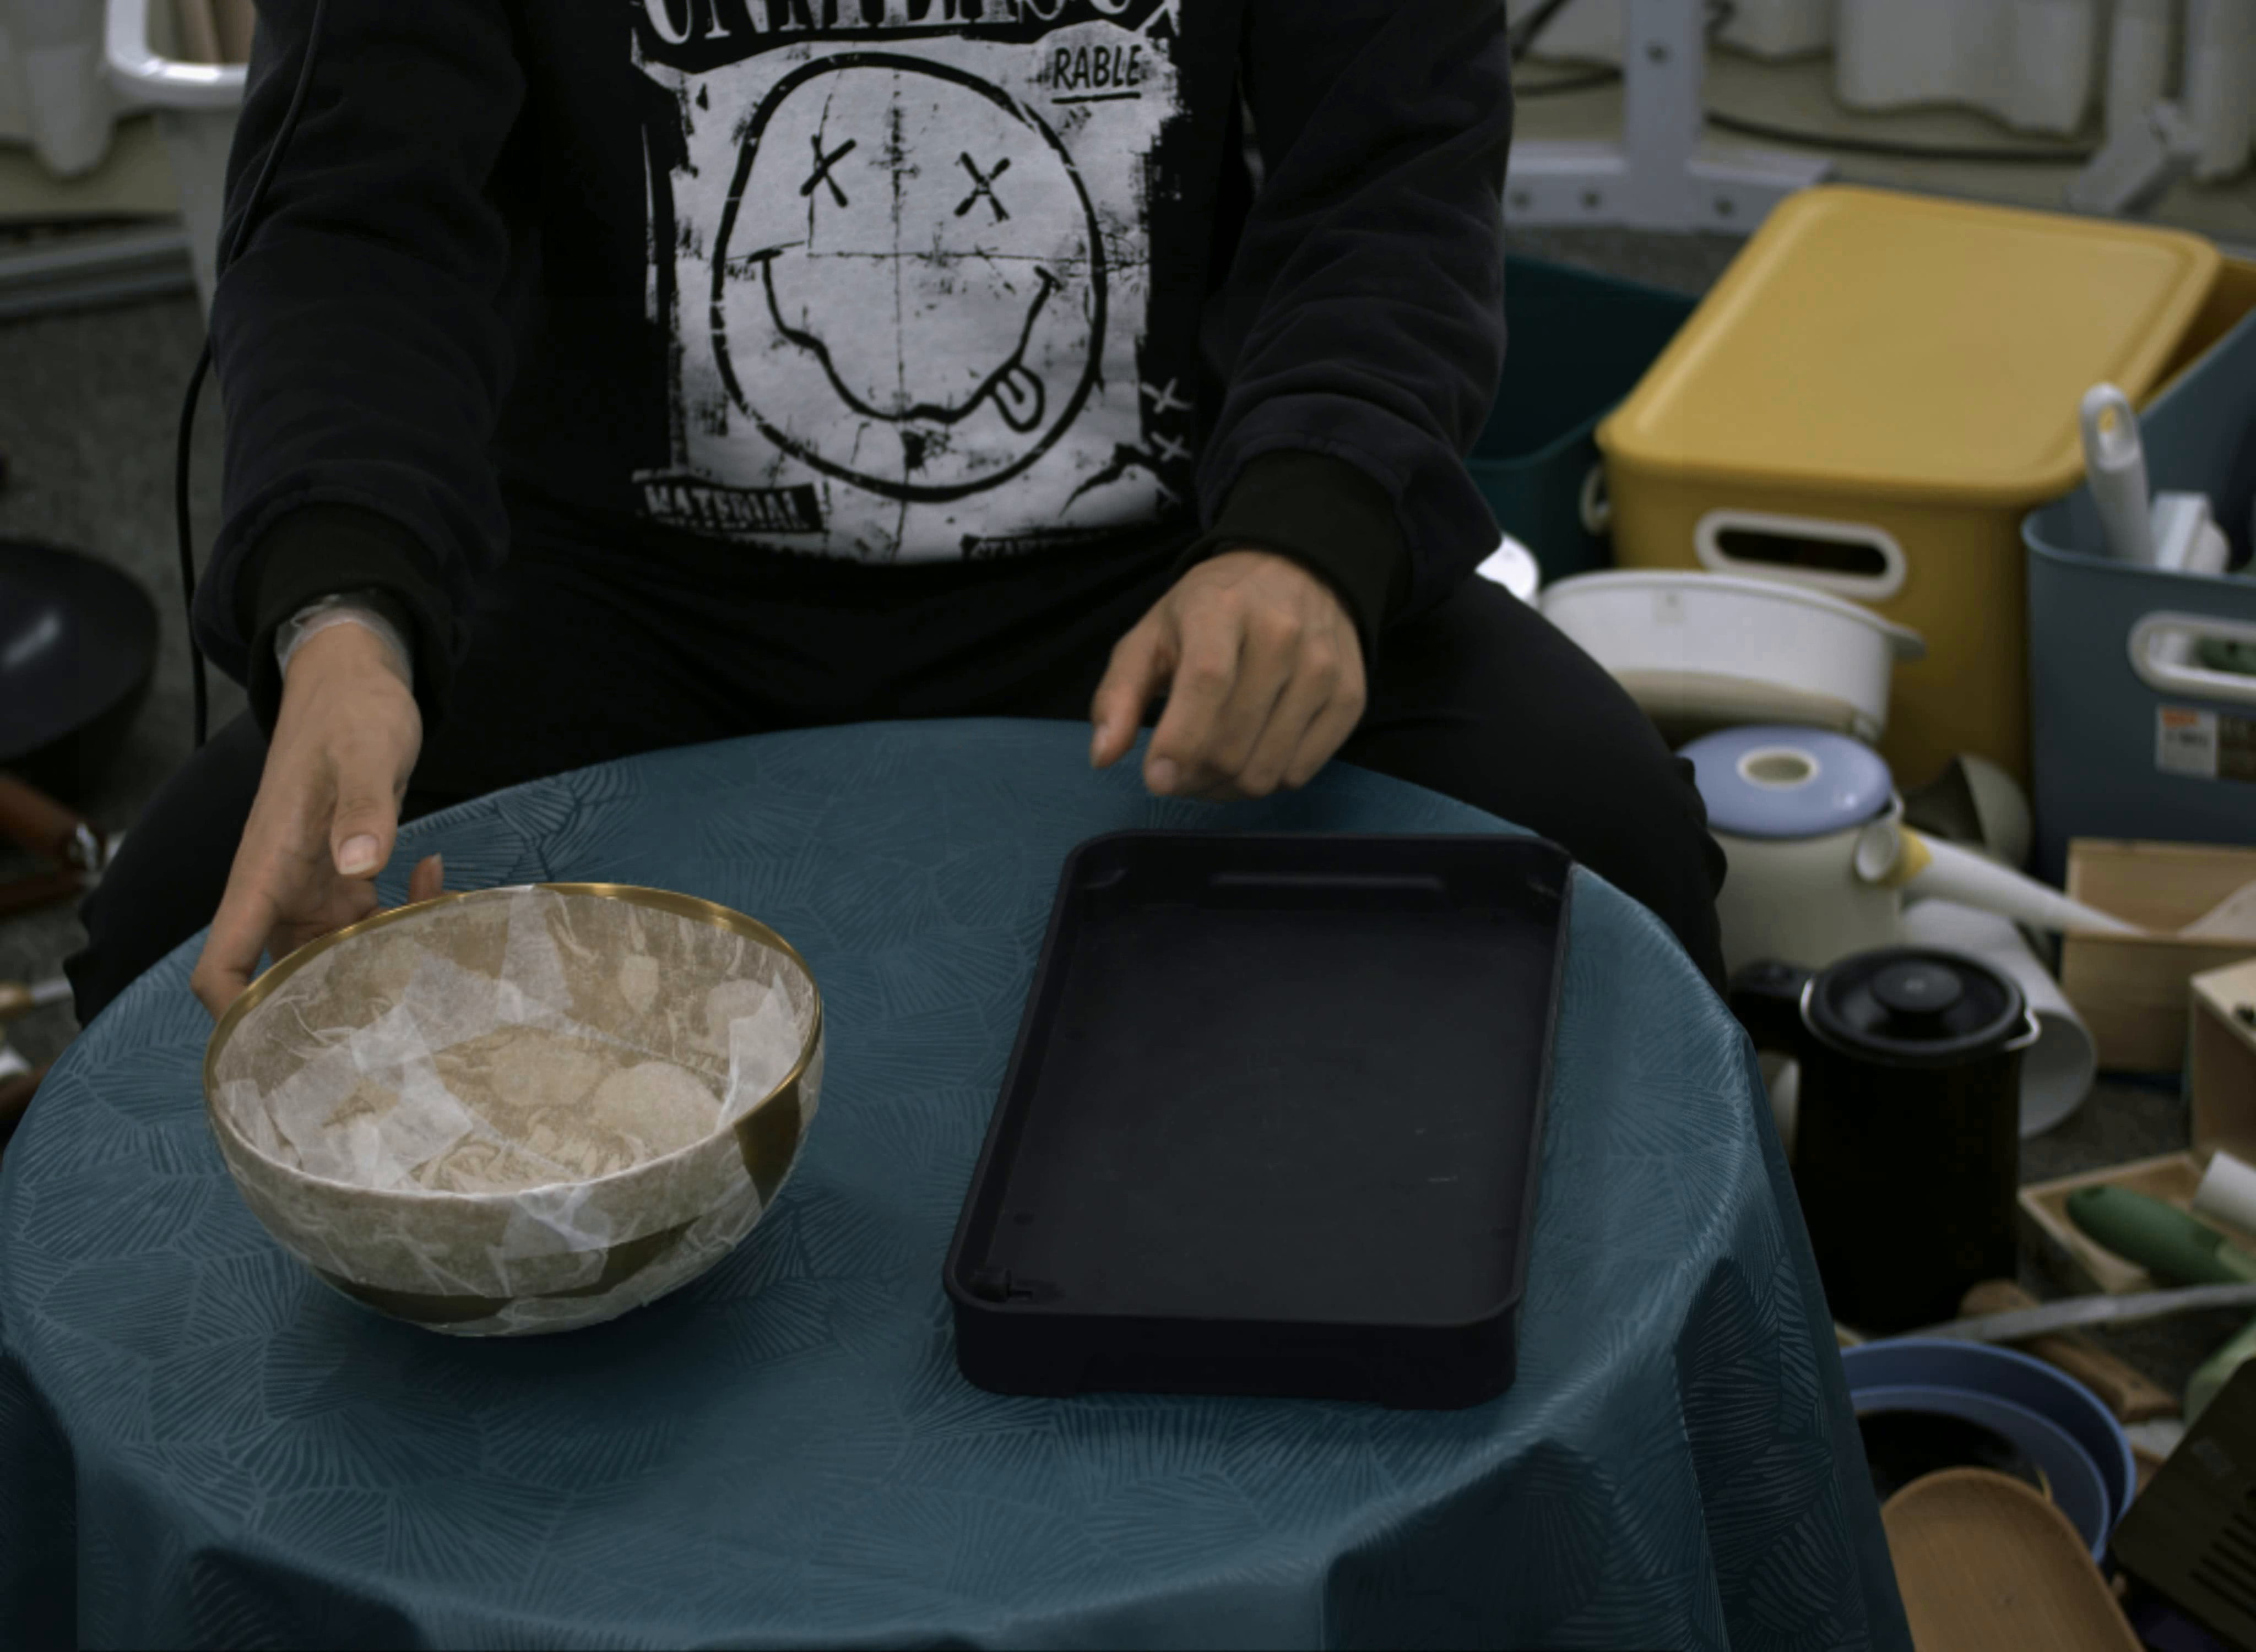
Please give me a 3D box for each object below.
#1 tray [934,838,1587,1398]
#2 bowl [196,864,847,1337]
[{"bbox_3d":[0.051,0.091,1.874,0.183,0.036,0.323,0,26,9],"label":"tray"},{"bbox_3d":[-0.191,0.103,1.818,0.213,0.093,0.218,-3,27,2],"label":"bowl"}]
